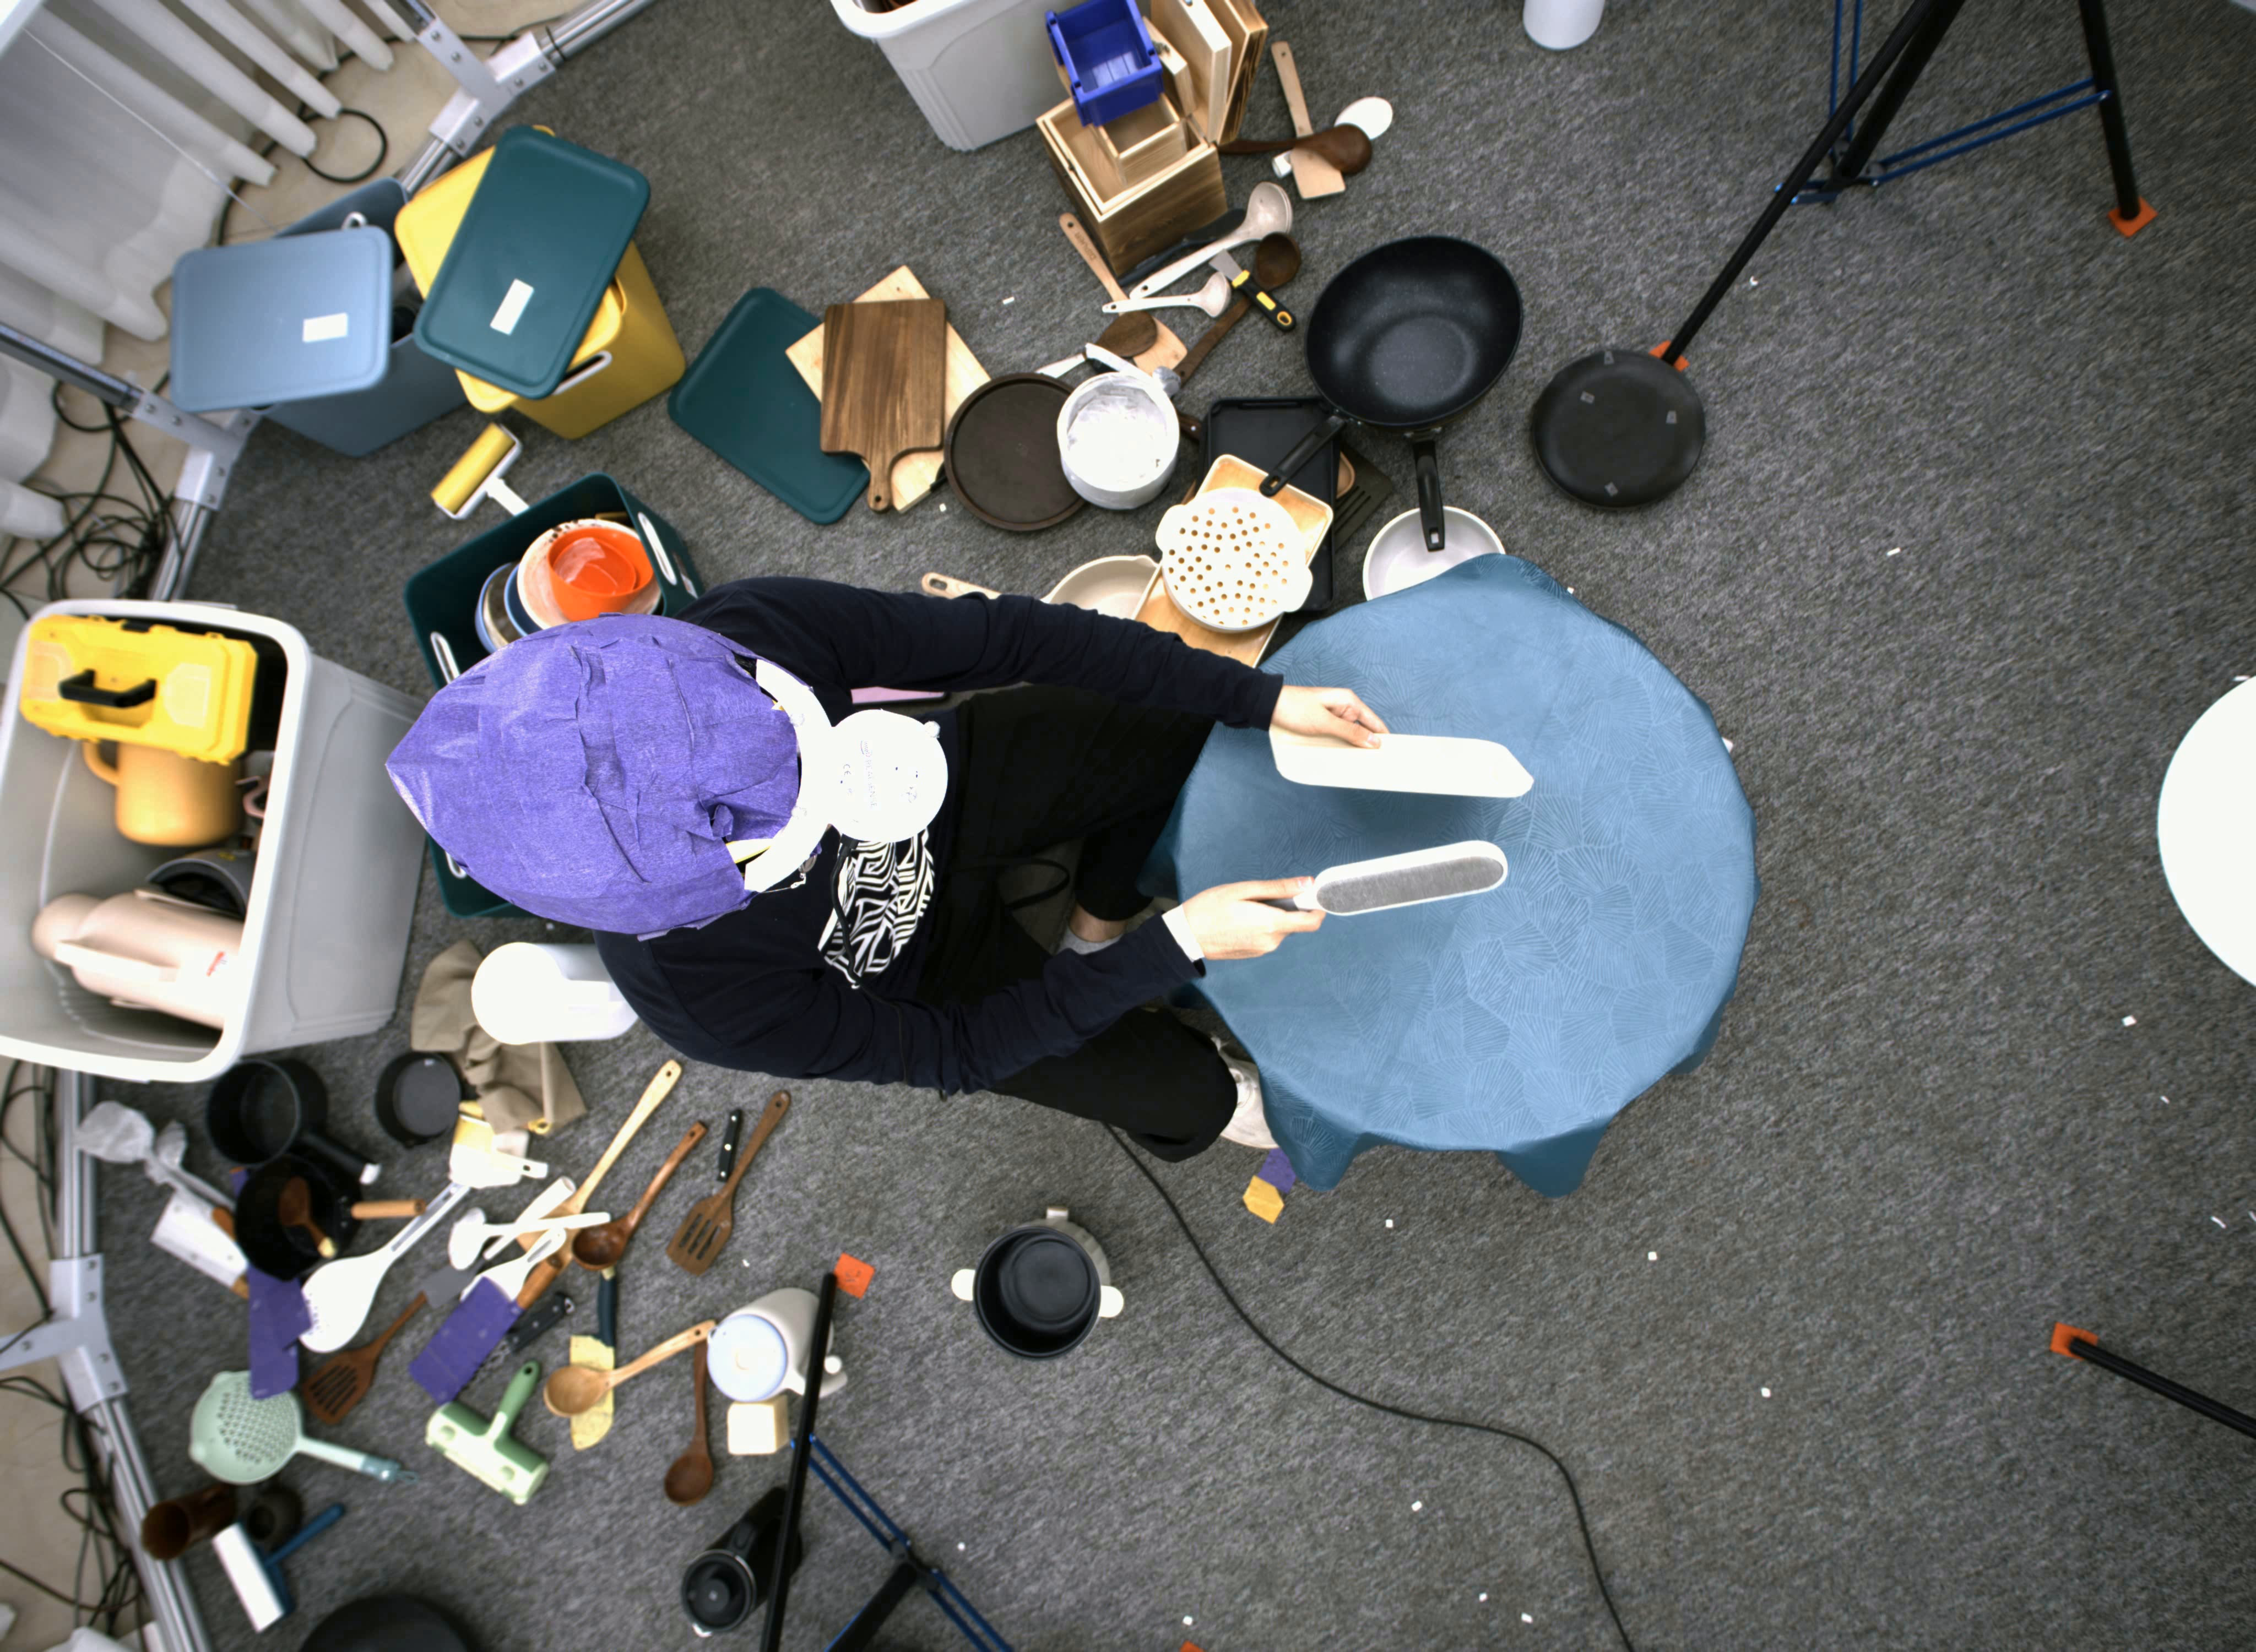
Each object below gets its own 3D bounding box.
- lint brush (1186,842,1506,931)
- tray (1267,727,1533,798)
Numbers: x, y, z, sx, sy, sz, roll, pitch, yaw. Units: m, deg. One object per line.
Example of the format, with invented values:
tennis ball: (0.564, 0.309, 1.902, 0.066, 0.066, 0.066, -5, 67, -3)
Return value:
lint brush: (0.199, 0.060, 1.296, 0.312, 0.061, 0.020, -13, 50, 21)
tray: (0.256, -0.063, 1.323, 0.240, 0.168, 0.018, 3, 109, 1)
